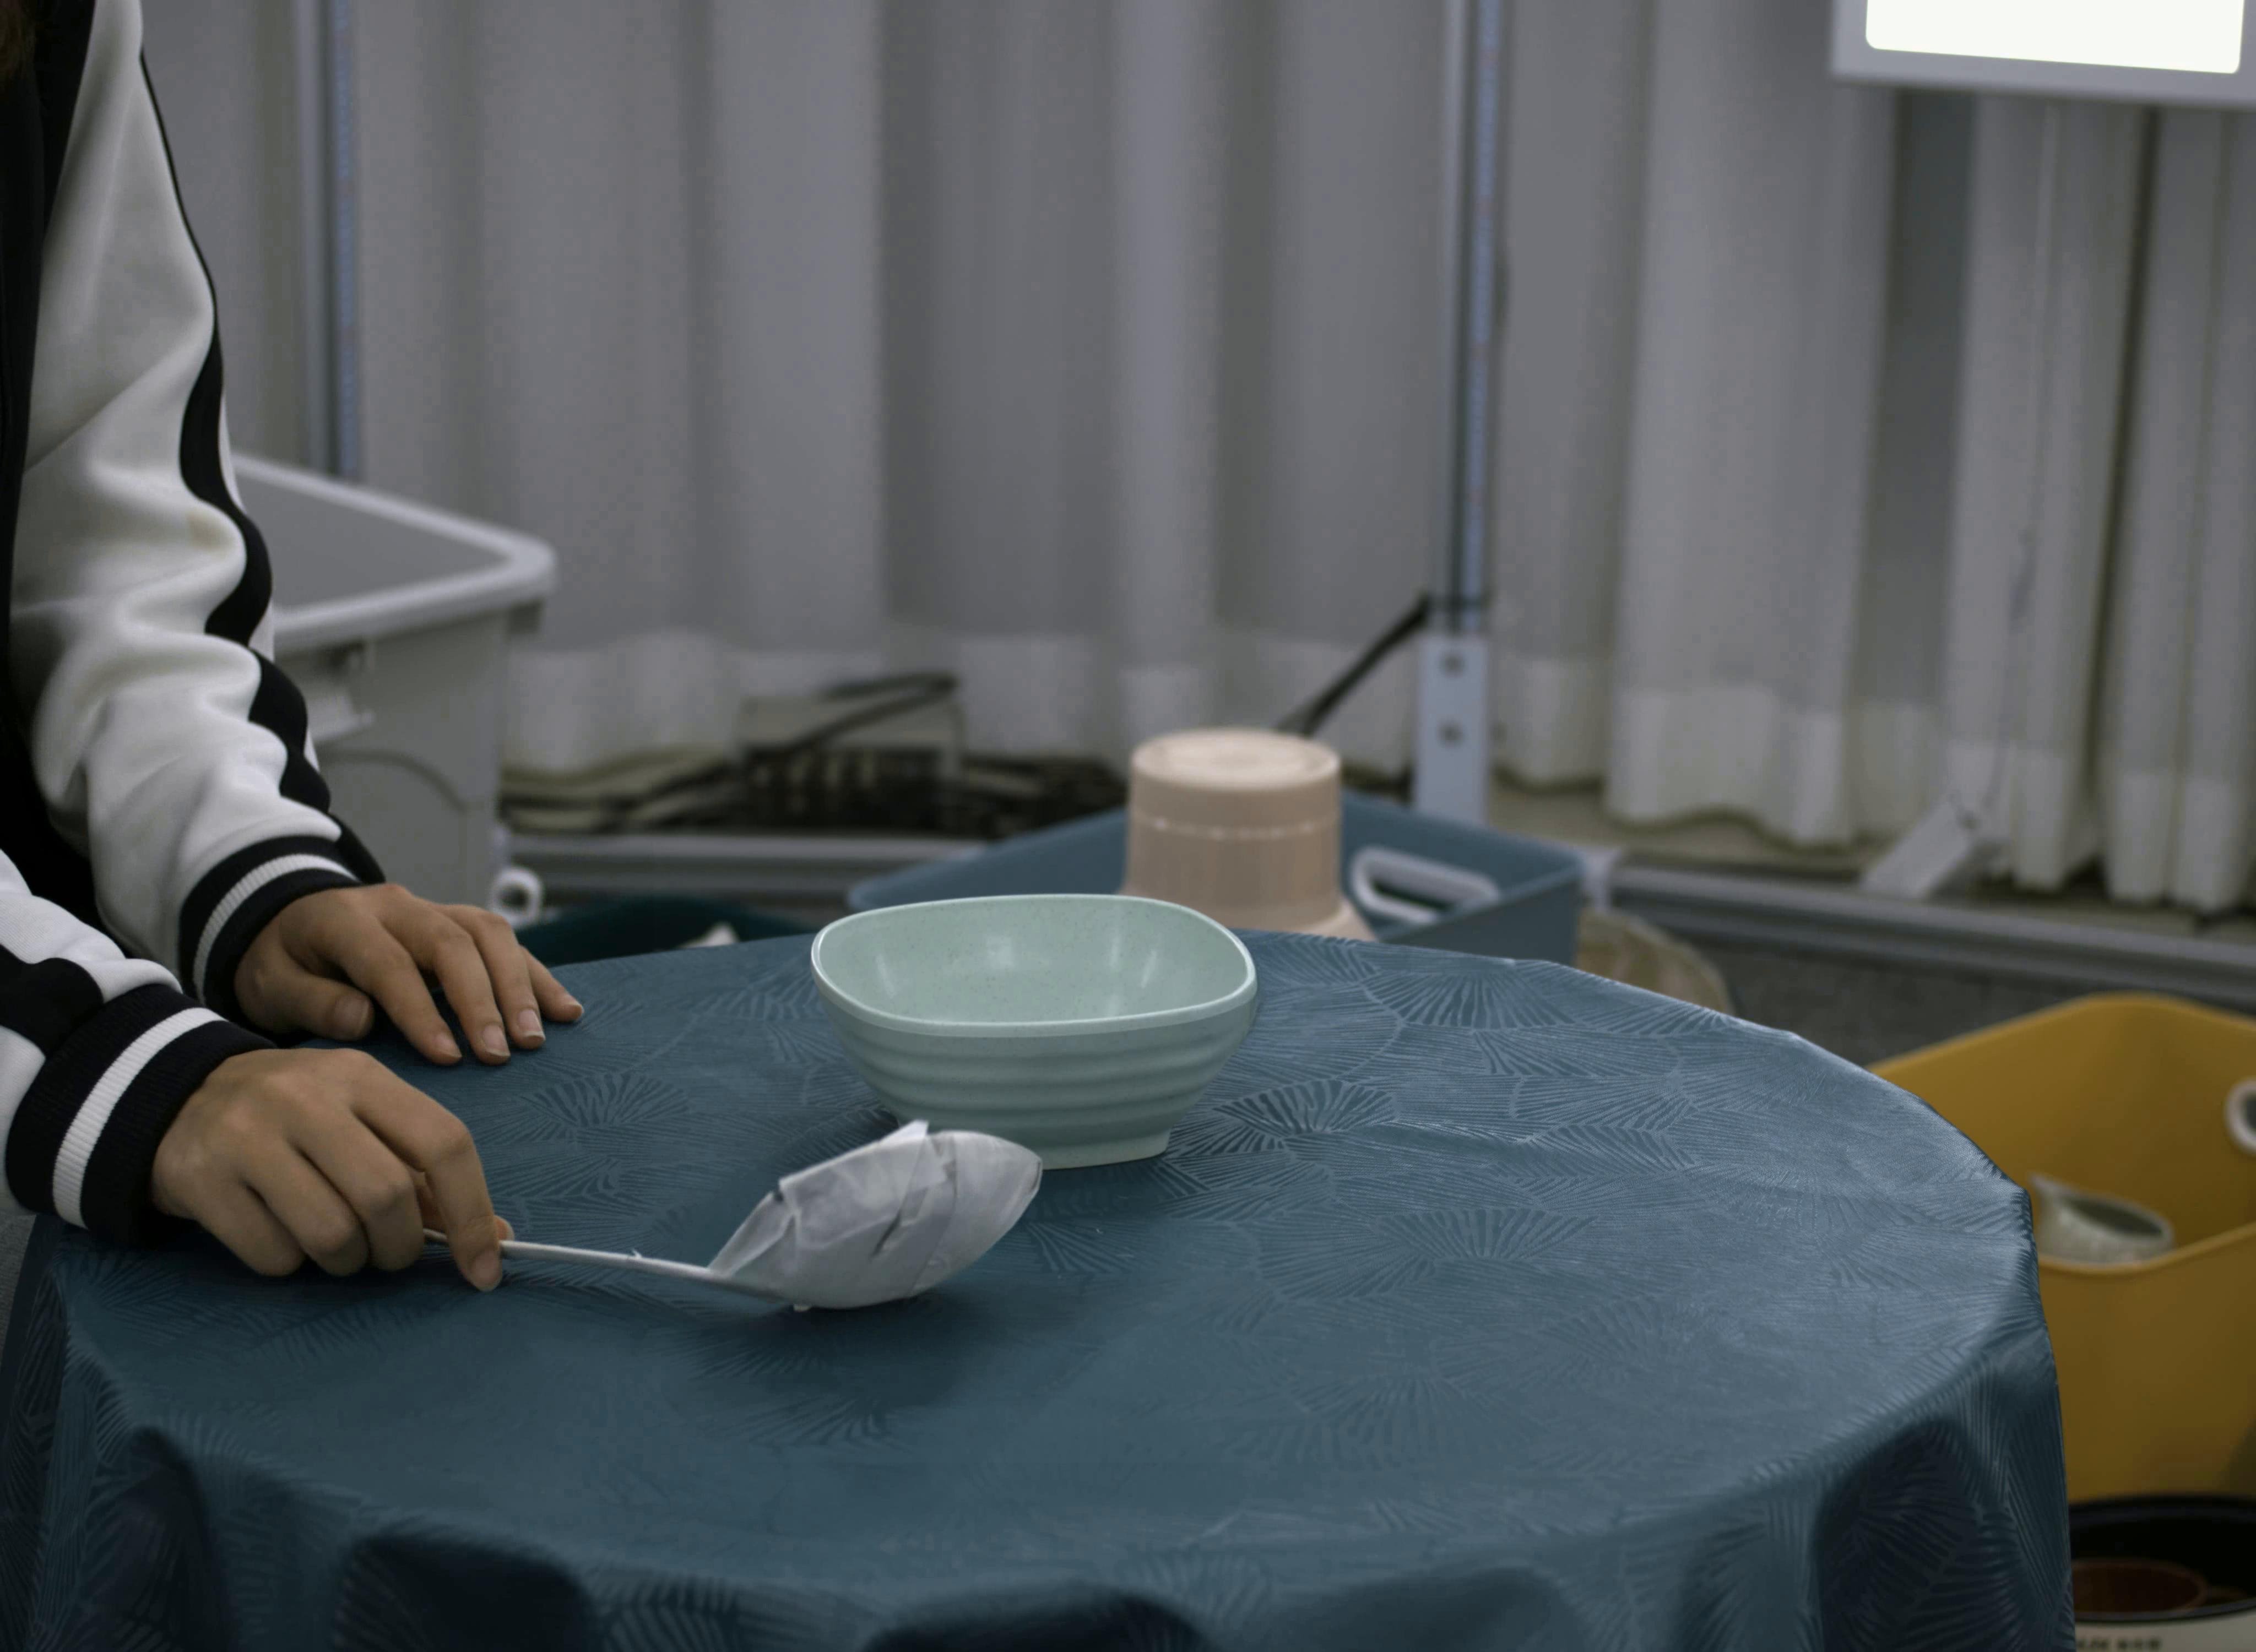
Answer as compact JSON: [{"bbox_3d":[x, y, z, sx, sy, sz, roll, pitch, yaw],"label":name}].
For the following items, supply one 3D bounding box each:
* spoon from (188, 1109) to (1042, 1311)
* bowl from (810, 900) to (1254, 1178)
[{"bbox_3d":[-0.155,0.105,1.547,0.274,0.059,0.102,4,-24,28],"label":"spoon"},{"bbox_3d":[-0.031,0.071,1.671,0.151,0.059,0.150,1,16,0],"label":"bowl"}]
